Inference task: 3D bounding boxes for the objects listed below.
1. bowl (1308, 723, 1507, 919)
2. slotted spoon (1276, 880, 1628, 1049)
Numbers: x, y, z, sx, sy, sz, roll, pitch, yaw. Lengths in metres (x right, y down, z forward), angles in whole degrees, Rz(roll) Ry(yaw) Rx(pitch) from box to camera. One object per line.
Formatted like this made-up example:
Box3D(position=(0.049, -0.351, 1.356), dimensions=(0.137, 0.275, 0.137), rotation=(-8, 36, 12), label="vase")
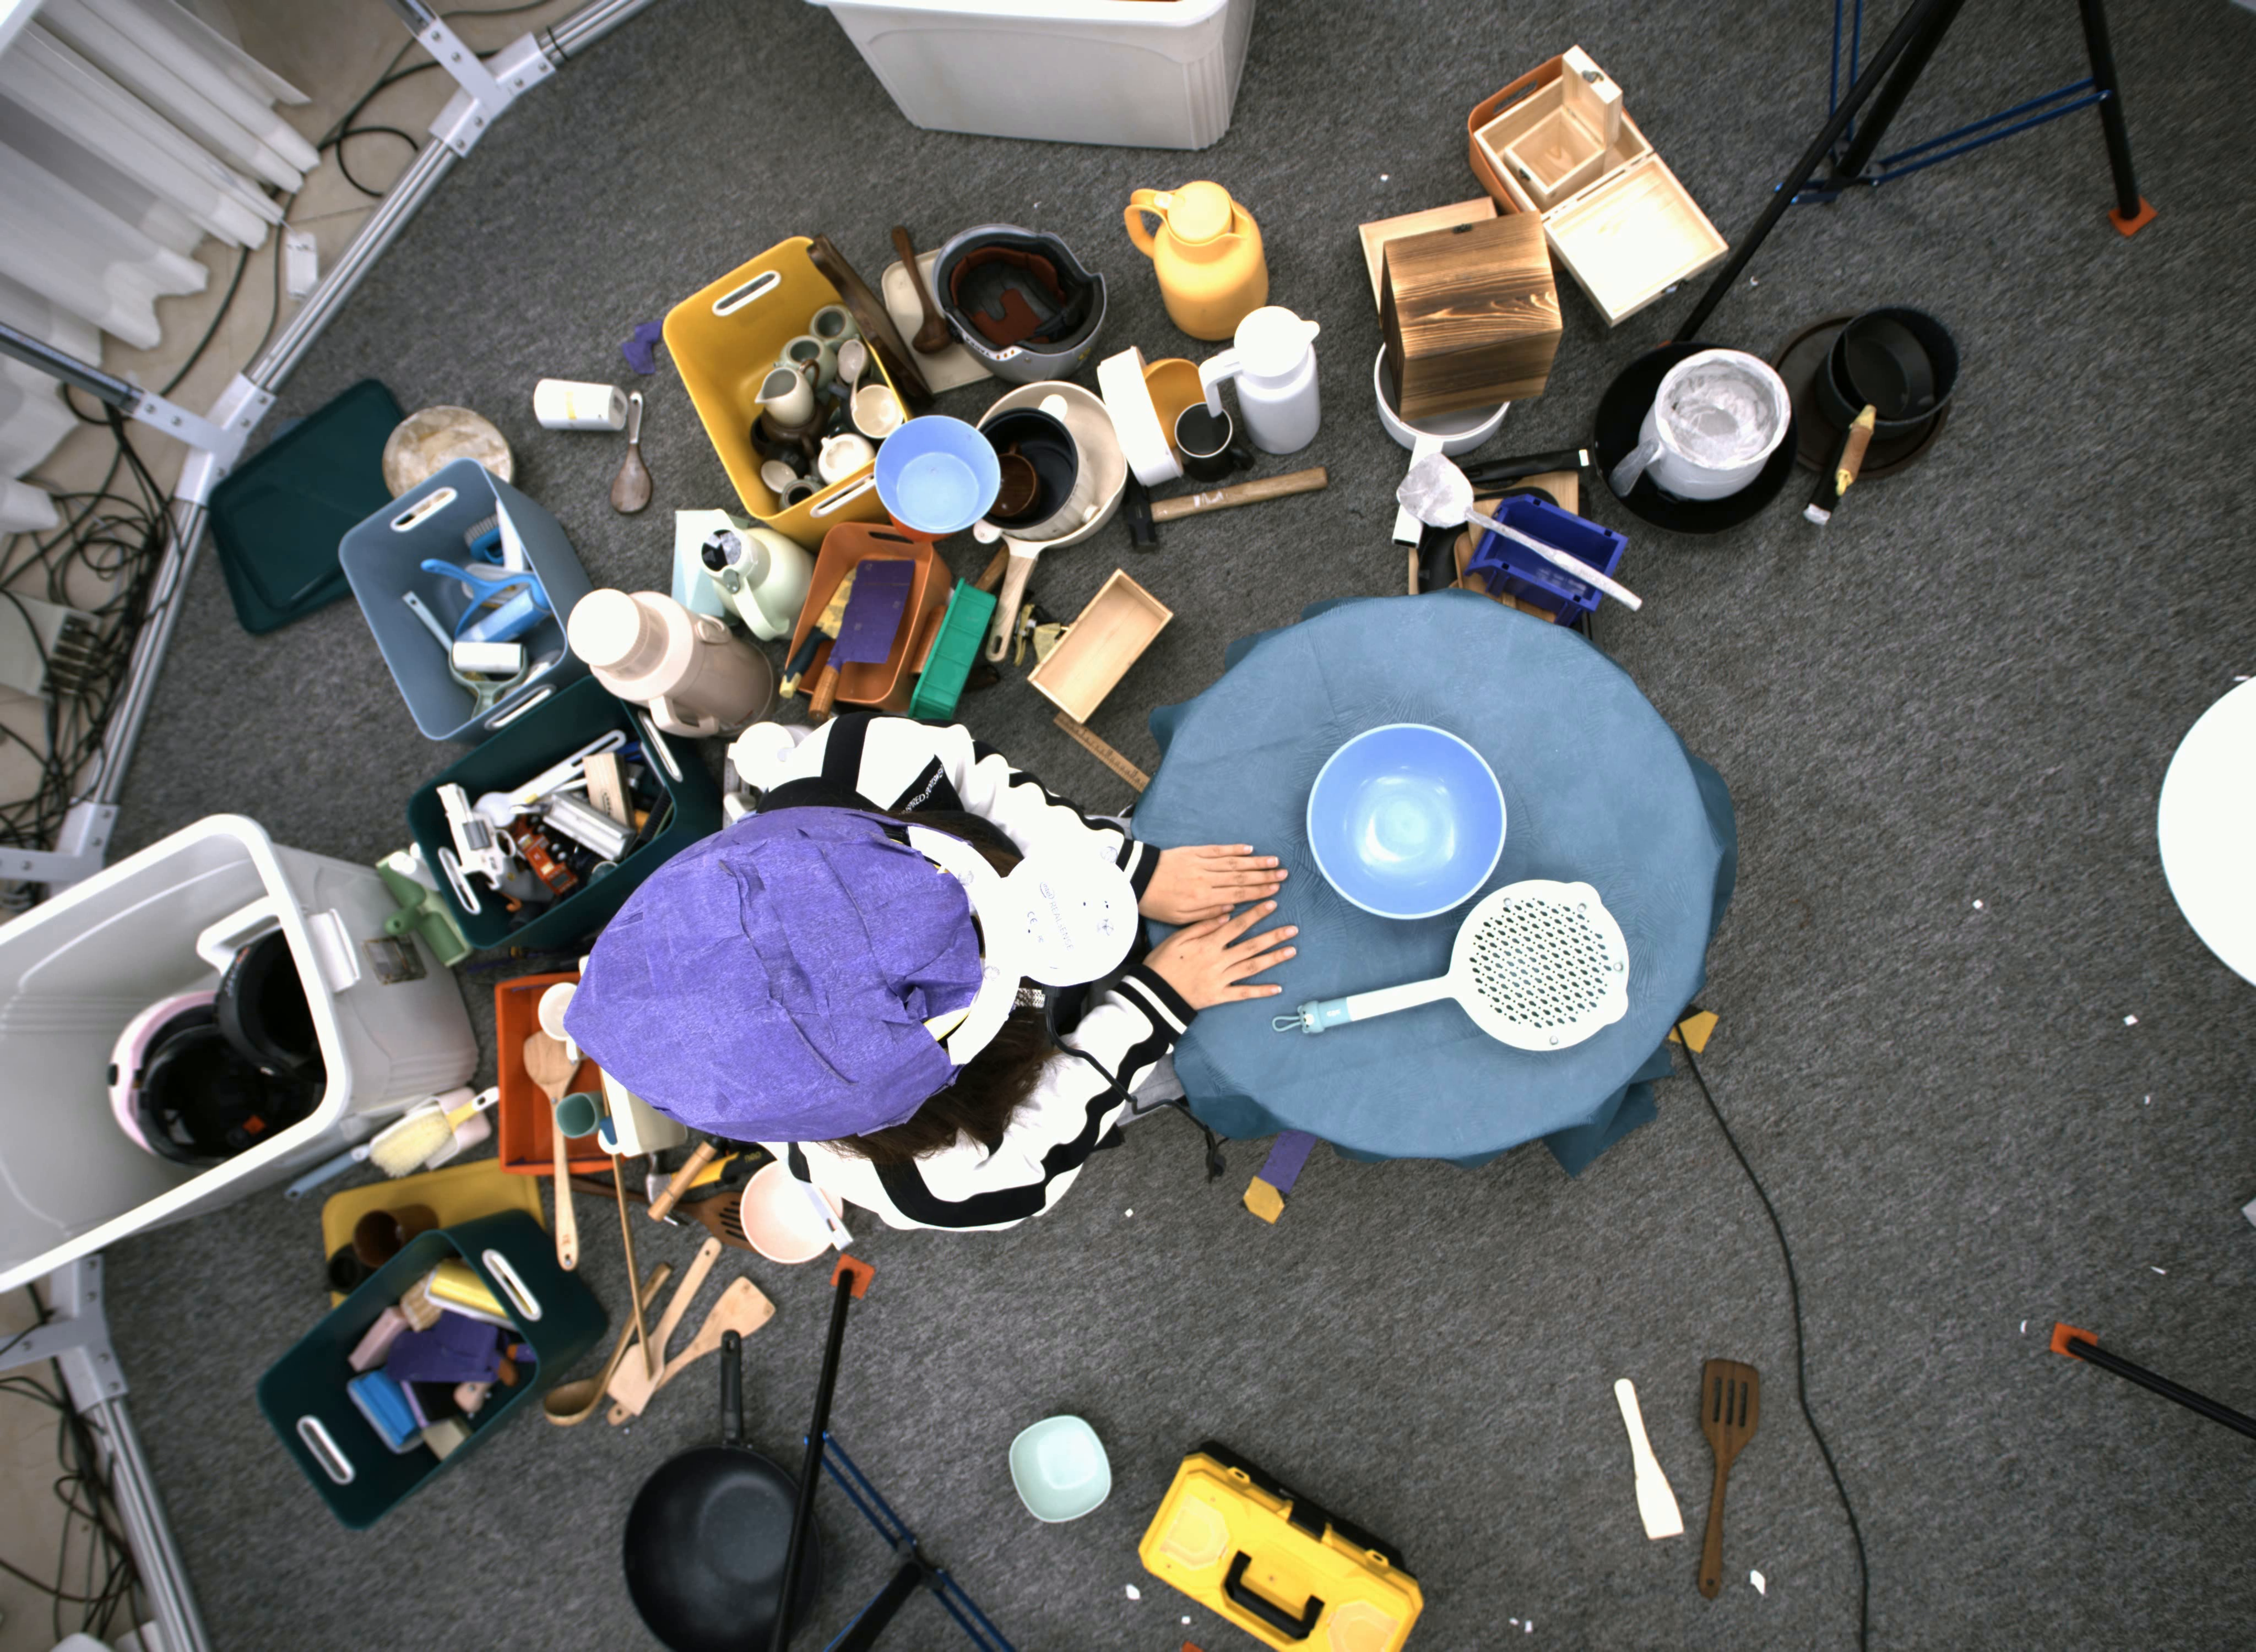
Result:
Box3D(position=(0.284, -0.002, 1.413), dimensions=(0.197, 0.095, 0.195), rotation=(-1, 87, 10), label="bowl")
Box3D(position=(0.324, 0.162, 1.416), dimensions=(0.361, 0.075, 0.168), rotation=(-15, 83, 11), label="slotted spoon")
